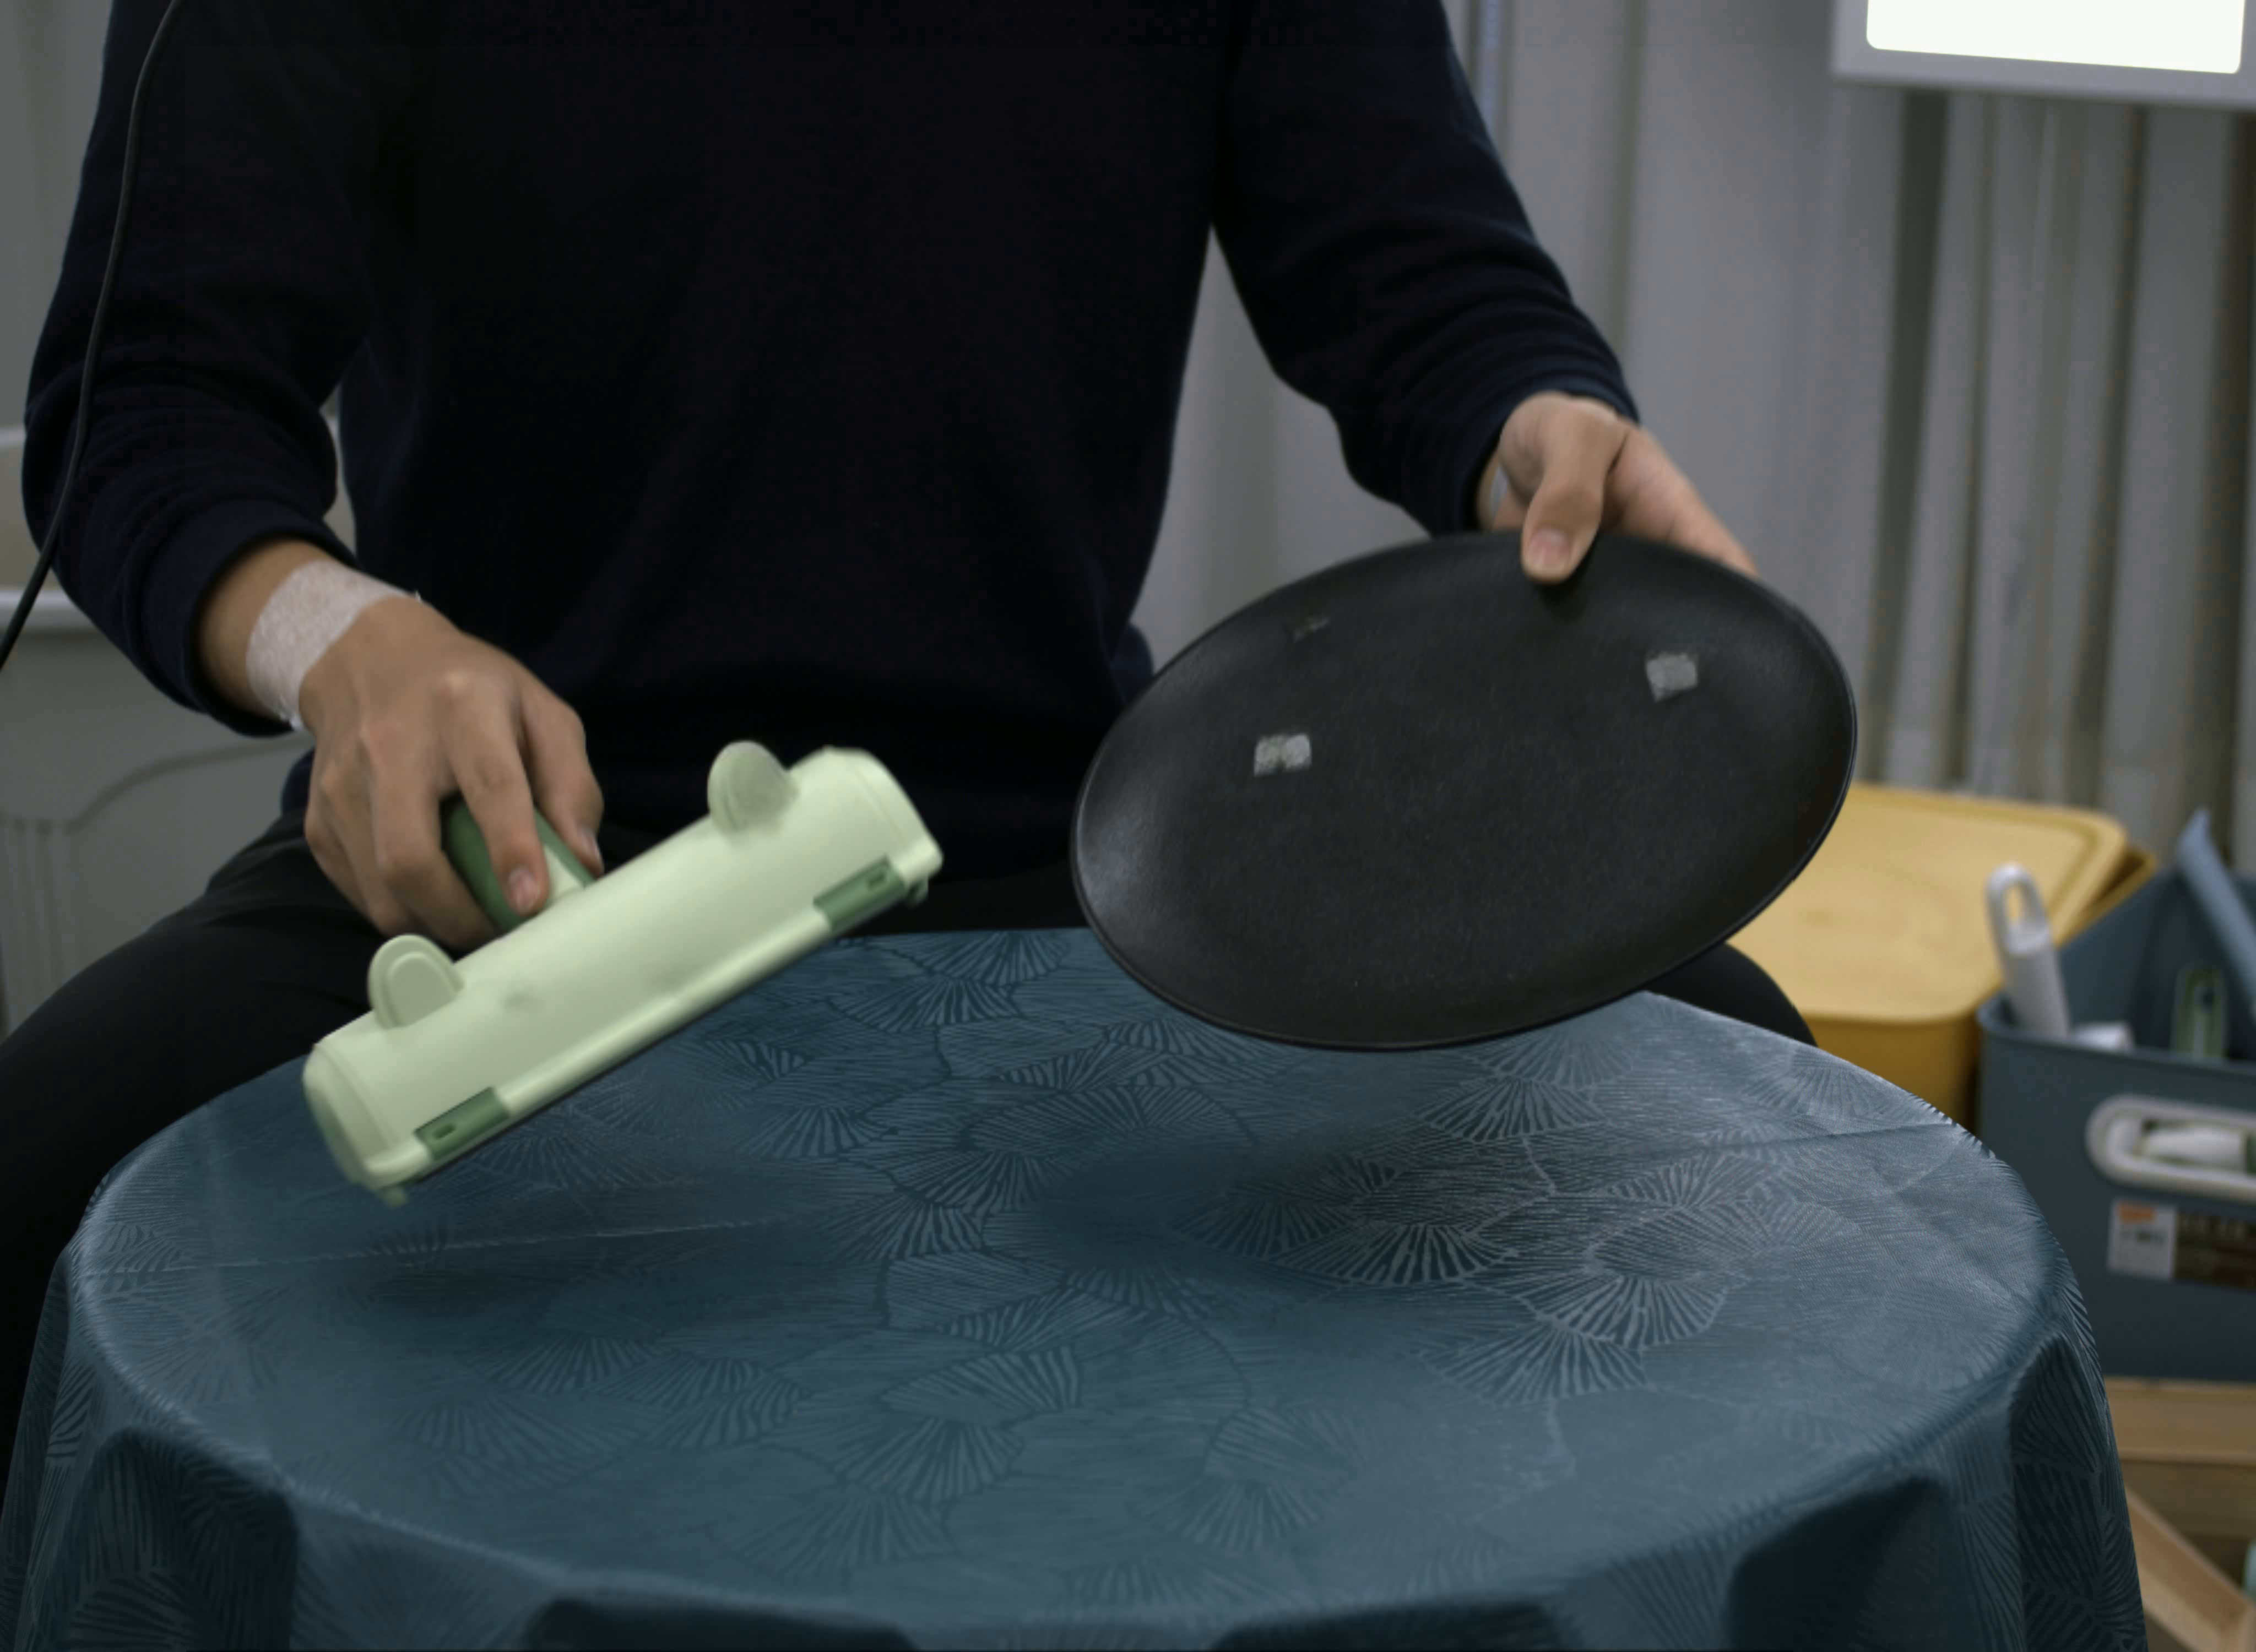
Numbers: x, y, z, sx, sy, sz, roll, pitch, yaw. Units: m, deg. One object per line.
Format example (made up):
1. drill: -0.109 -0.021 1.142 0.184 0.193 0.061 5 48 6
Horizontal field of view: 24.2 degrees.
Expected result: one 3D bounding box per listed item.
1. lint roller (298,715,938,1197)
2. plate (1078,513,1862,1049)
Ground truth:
1. lint roller: -0.182 0.002 1.576 0.198 0.083 0.181 -32 52 -18
2. plate: 0.104 -0.012 1.605 0.243 0.024 0.242 -10 40 9
